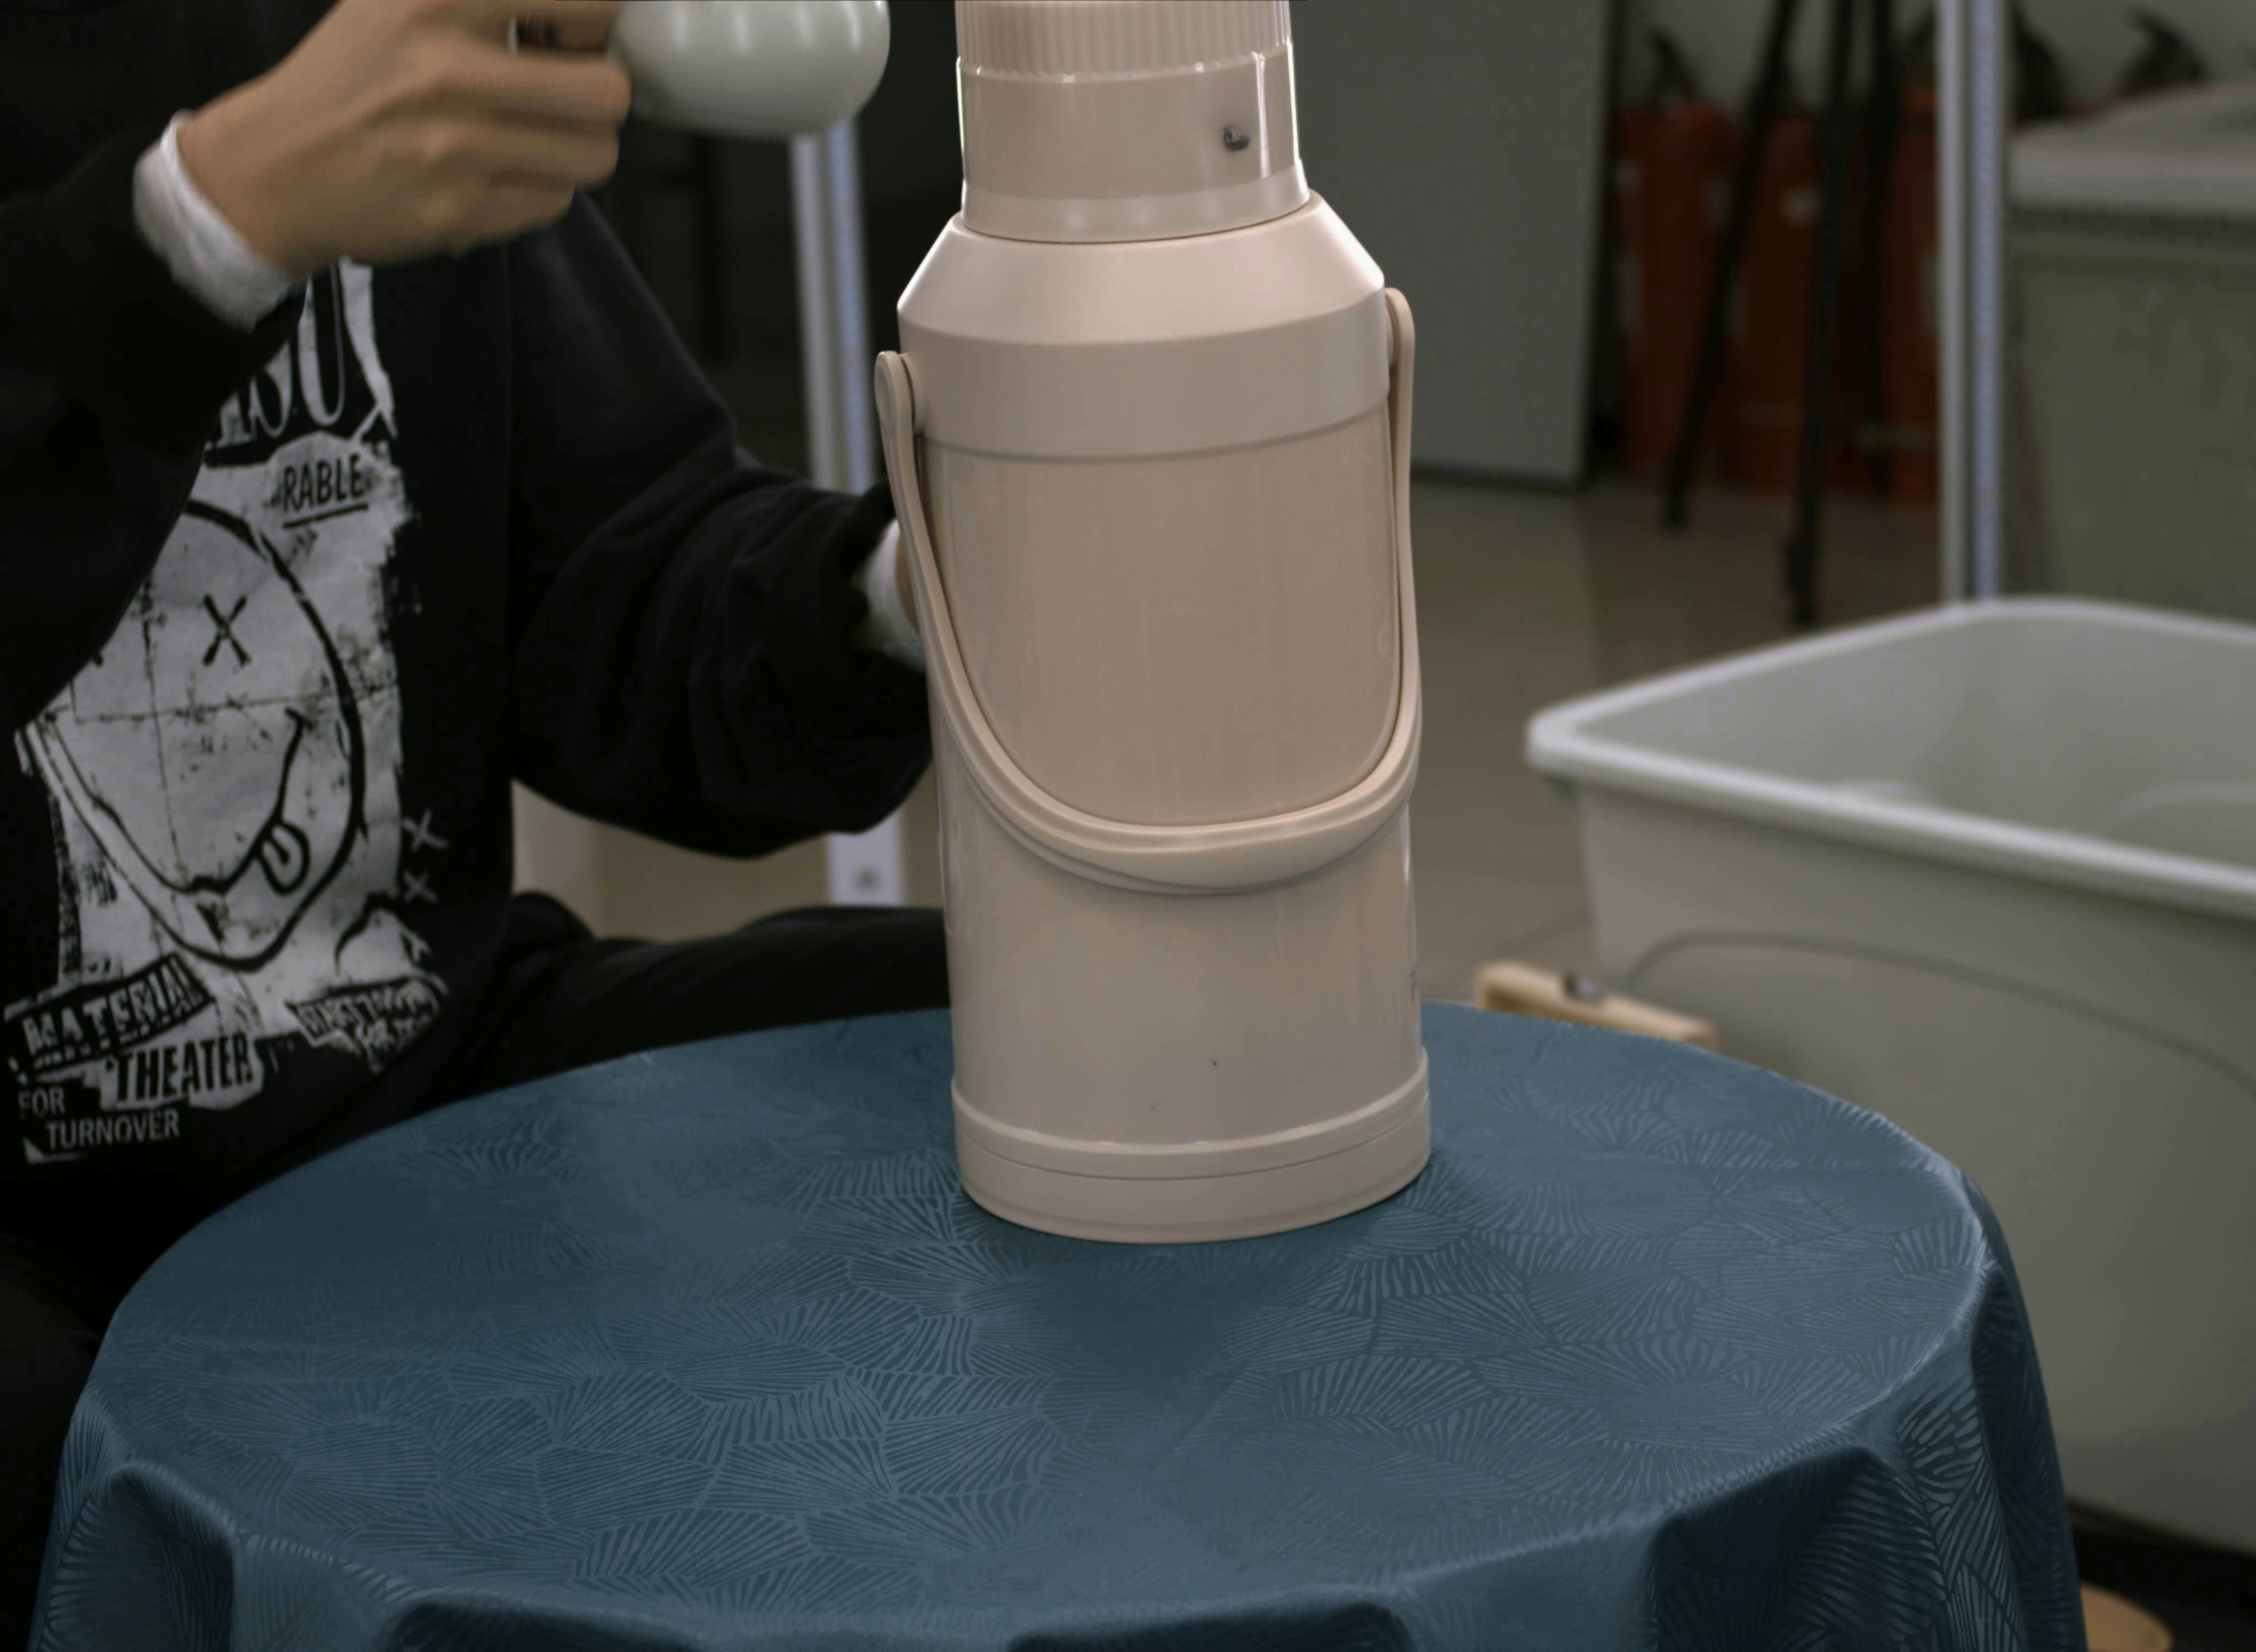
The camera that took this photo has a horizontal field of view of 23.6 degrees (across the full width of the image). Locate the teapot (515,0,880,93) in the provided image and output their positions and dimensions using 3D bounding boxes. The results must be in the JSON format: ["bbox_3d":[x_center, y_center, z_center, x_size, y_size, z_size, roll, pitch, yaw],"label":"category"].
[{"bbox_3d":[-0.126,-0.252,1.608,0.125,0.060,0.093,0,18,-36],"label":"teapot"}]

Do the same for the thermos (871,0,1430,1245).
[{"bbox_3d":[0.006,-0.084,1.754,0.172,0.410,0.209,-10,17,-16],"label":"thermos"}]
